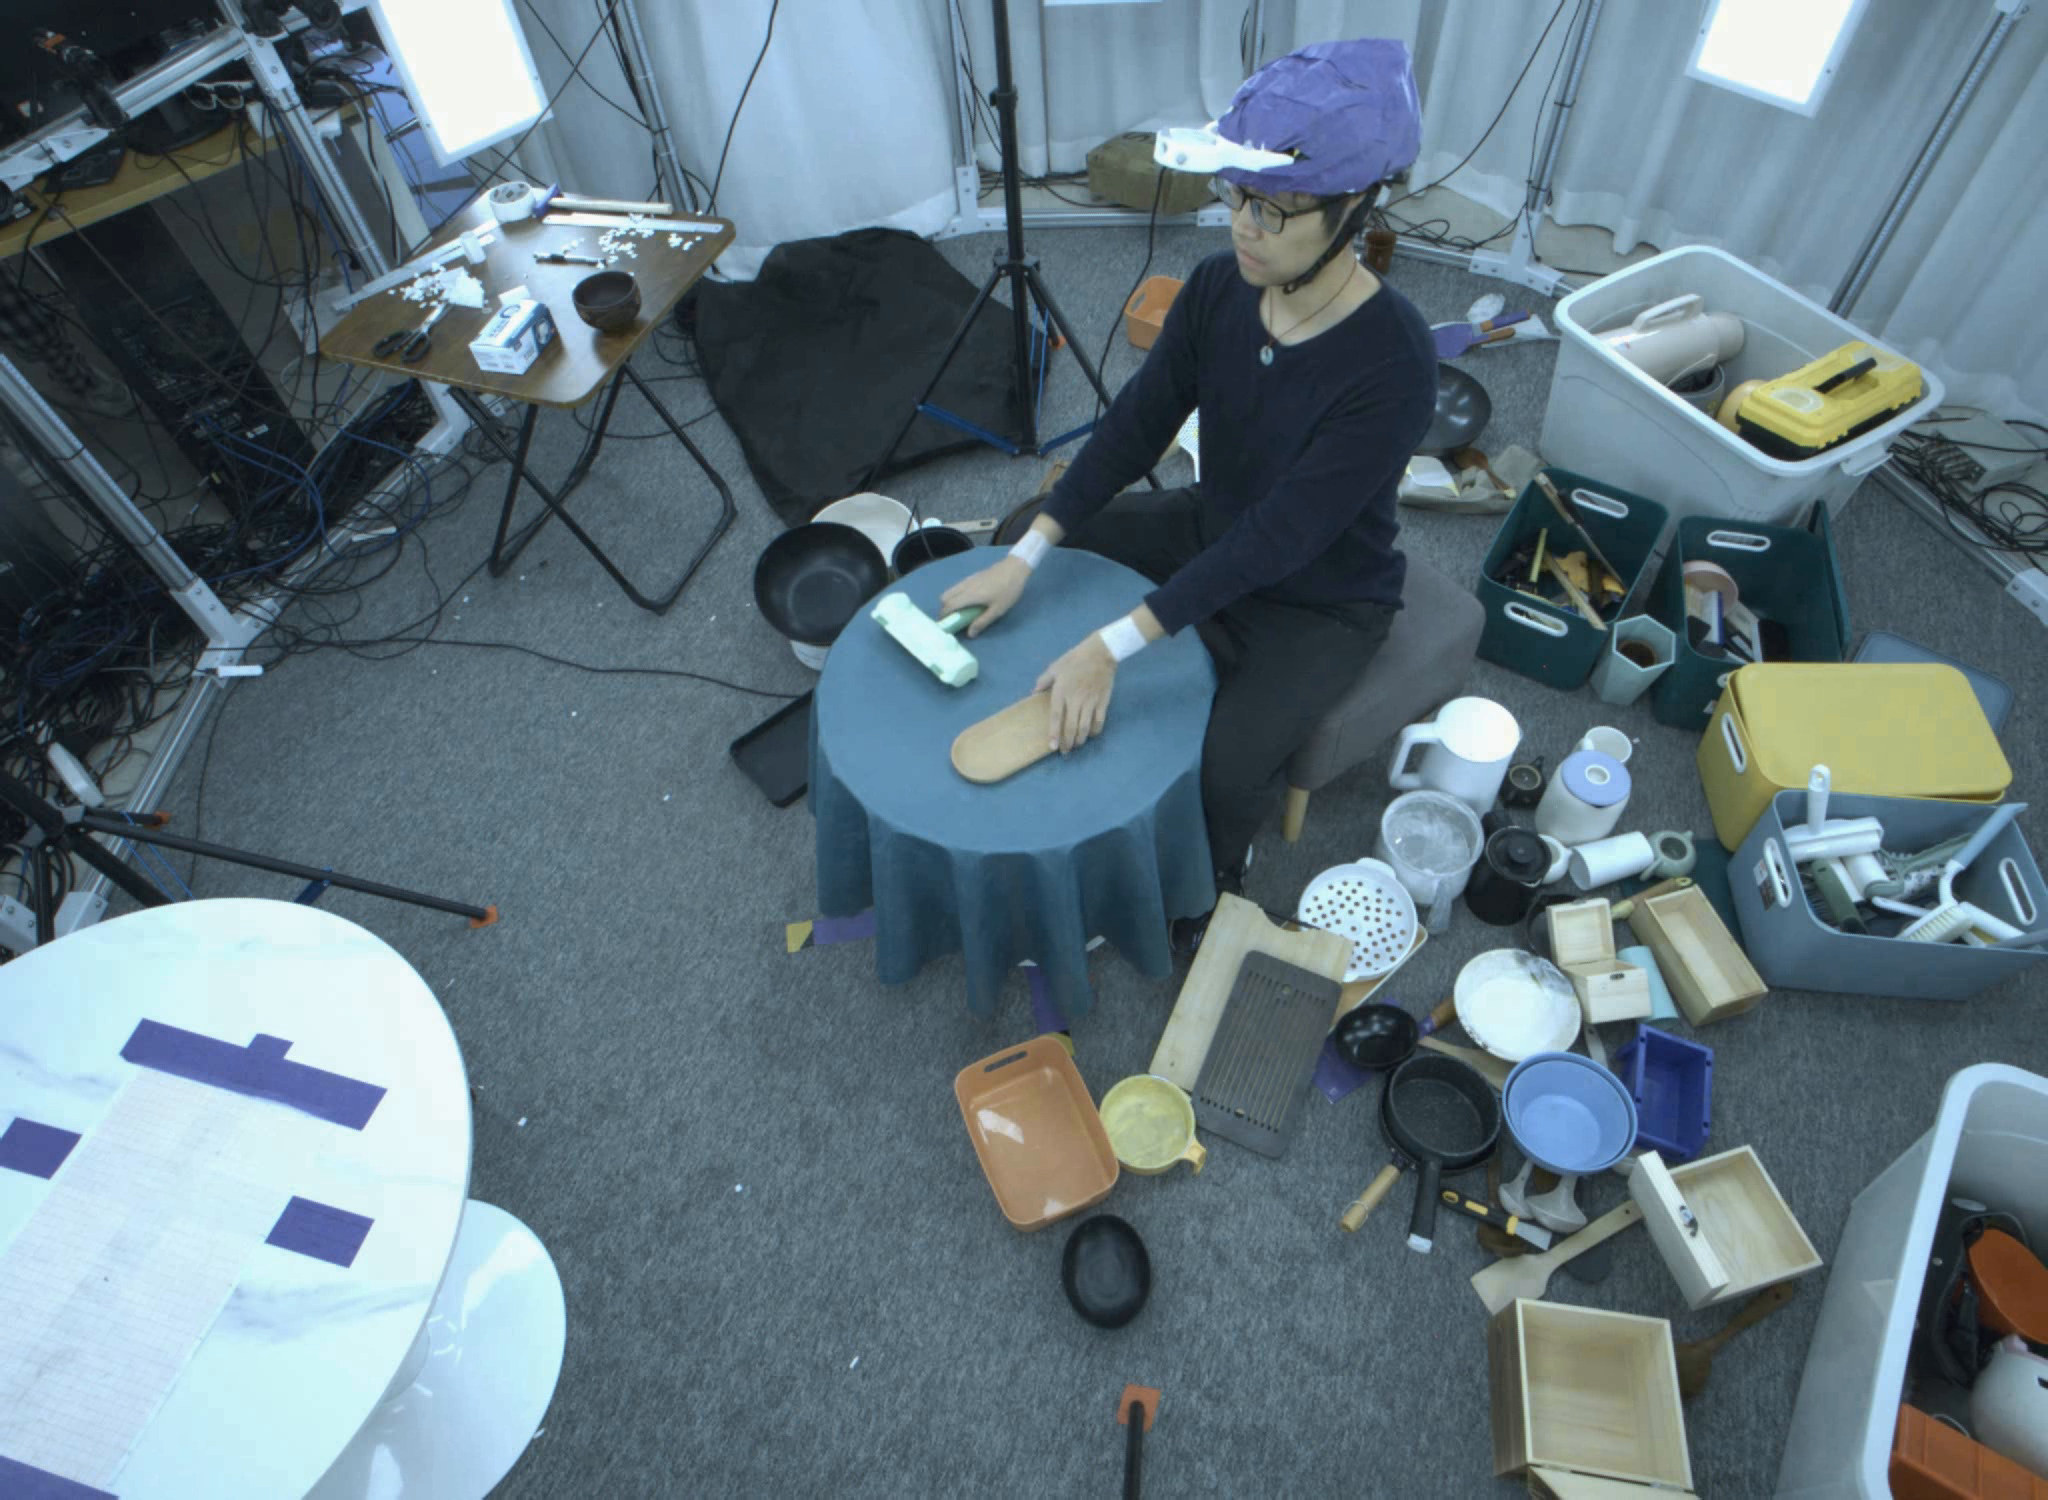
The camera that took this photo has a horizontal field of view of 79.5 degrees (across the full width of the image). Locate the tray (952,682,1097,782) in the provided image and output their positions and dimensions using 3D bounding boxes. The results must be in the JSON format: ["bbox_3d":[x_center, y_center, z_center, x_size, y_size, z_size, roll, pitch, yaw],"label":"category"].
[{"bbox_3d":[0.002,-0.027,1.796,0.233,0.020,0.100,-28,60,-18],"label":"tray"}]

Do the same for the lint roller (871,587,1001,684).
[{"bbox_3d":[-0.110,-0.211,1.886,0.184,0.083,0.195,-40,63,-16],"label":"lint roller"}]
